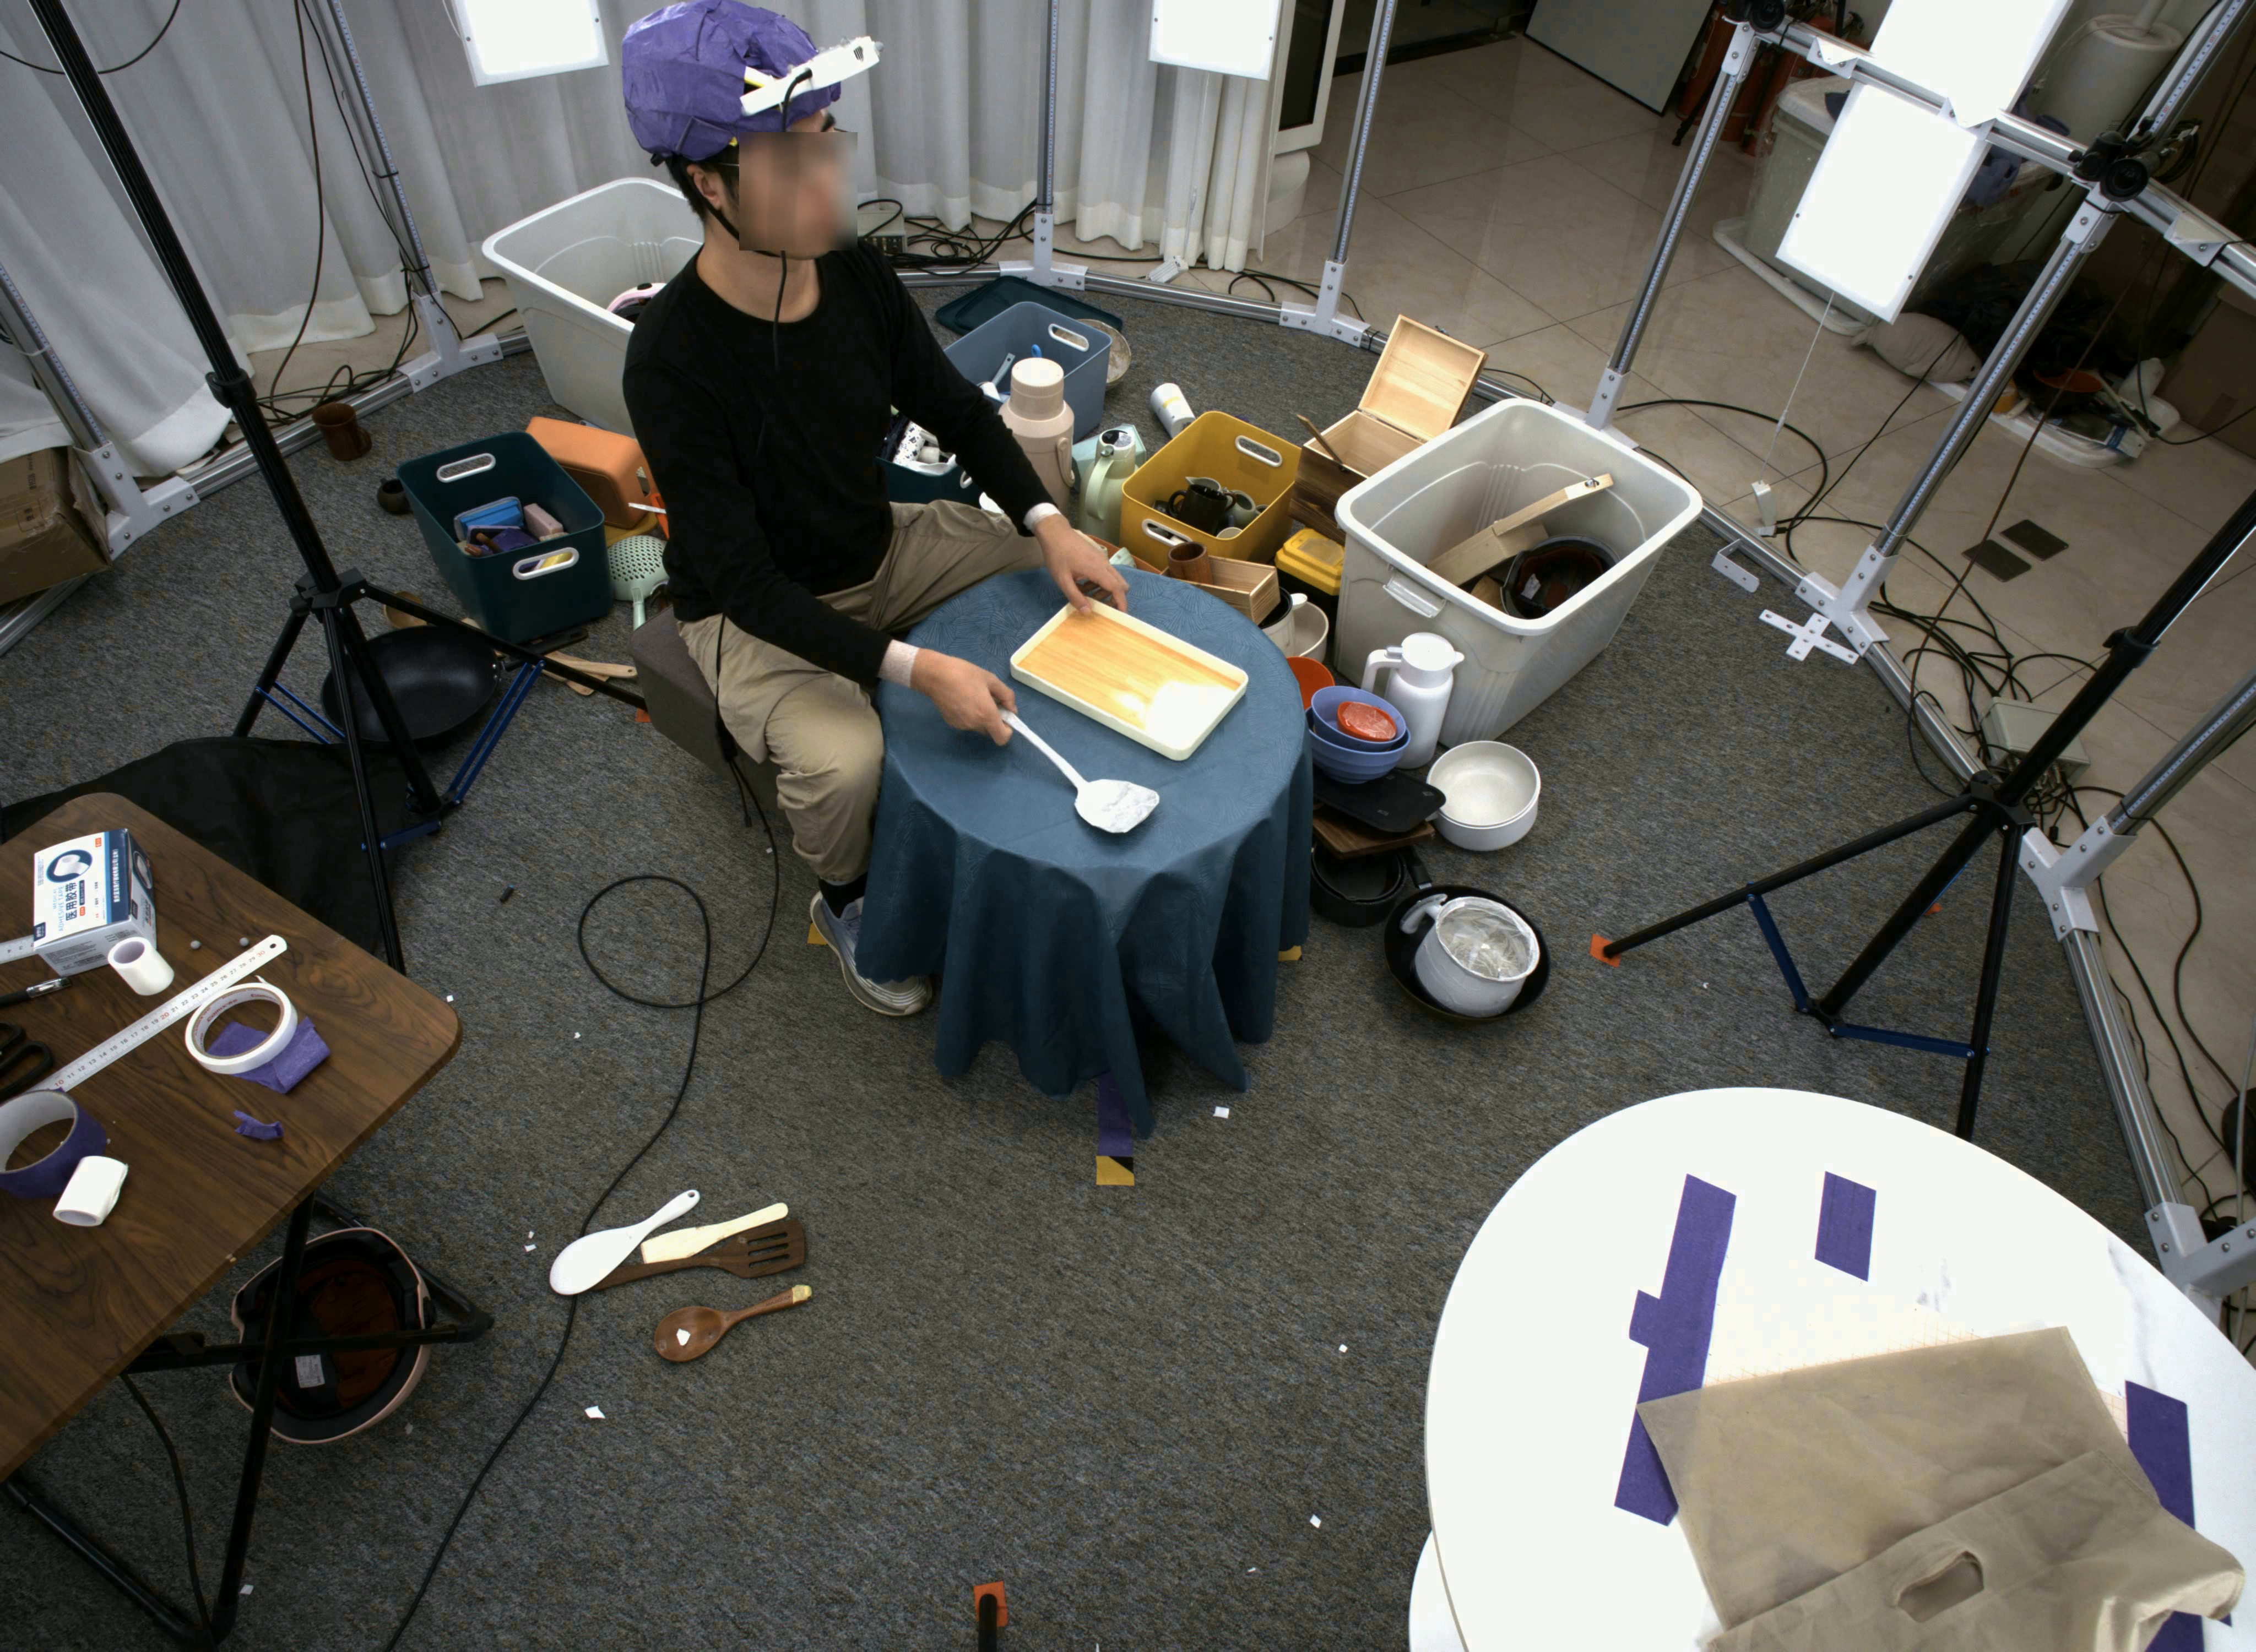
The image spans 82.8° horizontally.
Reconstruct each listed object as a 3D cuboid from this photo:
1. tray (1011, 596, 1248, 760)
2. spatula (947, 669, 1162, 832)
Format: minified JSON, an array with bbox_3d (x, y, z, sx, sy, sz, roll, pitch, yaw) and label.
[{"bbox_3d":[0.002,-0.218,1.841,0.303,0.027,0.194,29,53,20],"label":"tray"},{"bbox_3d":[-0.115,-0.112,1.713,0.368,0.044,0.100,40,54,16],"label":"spatula"}]
